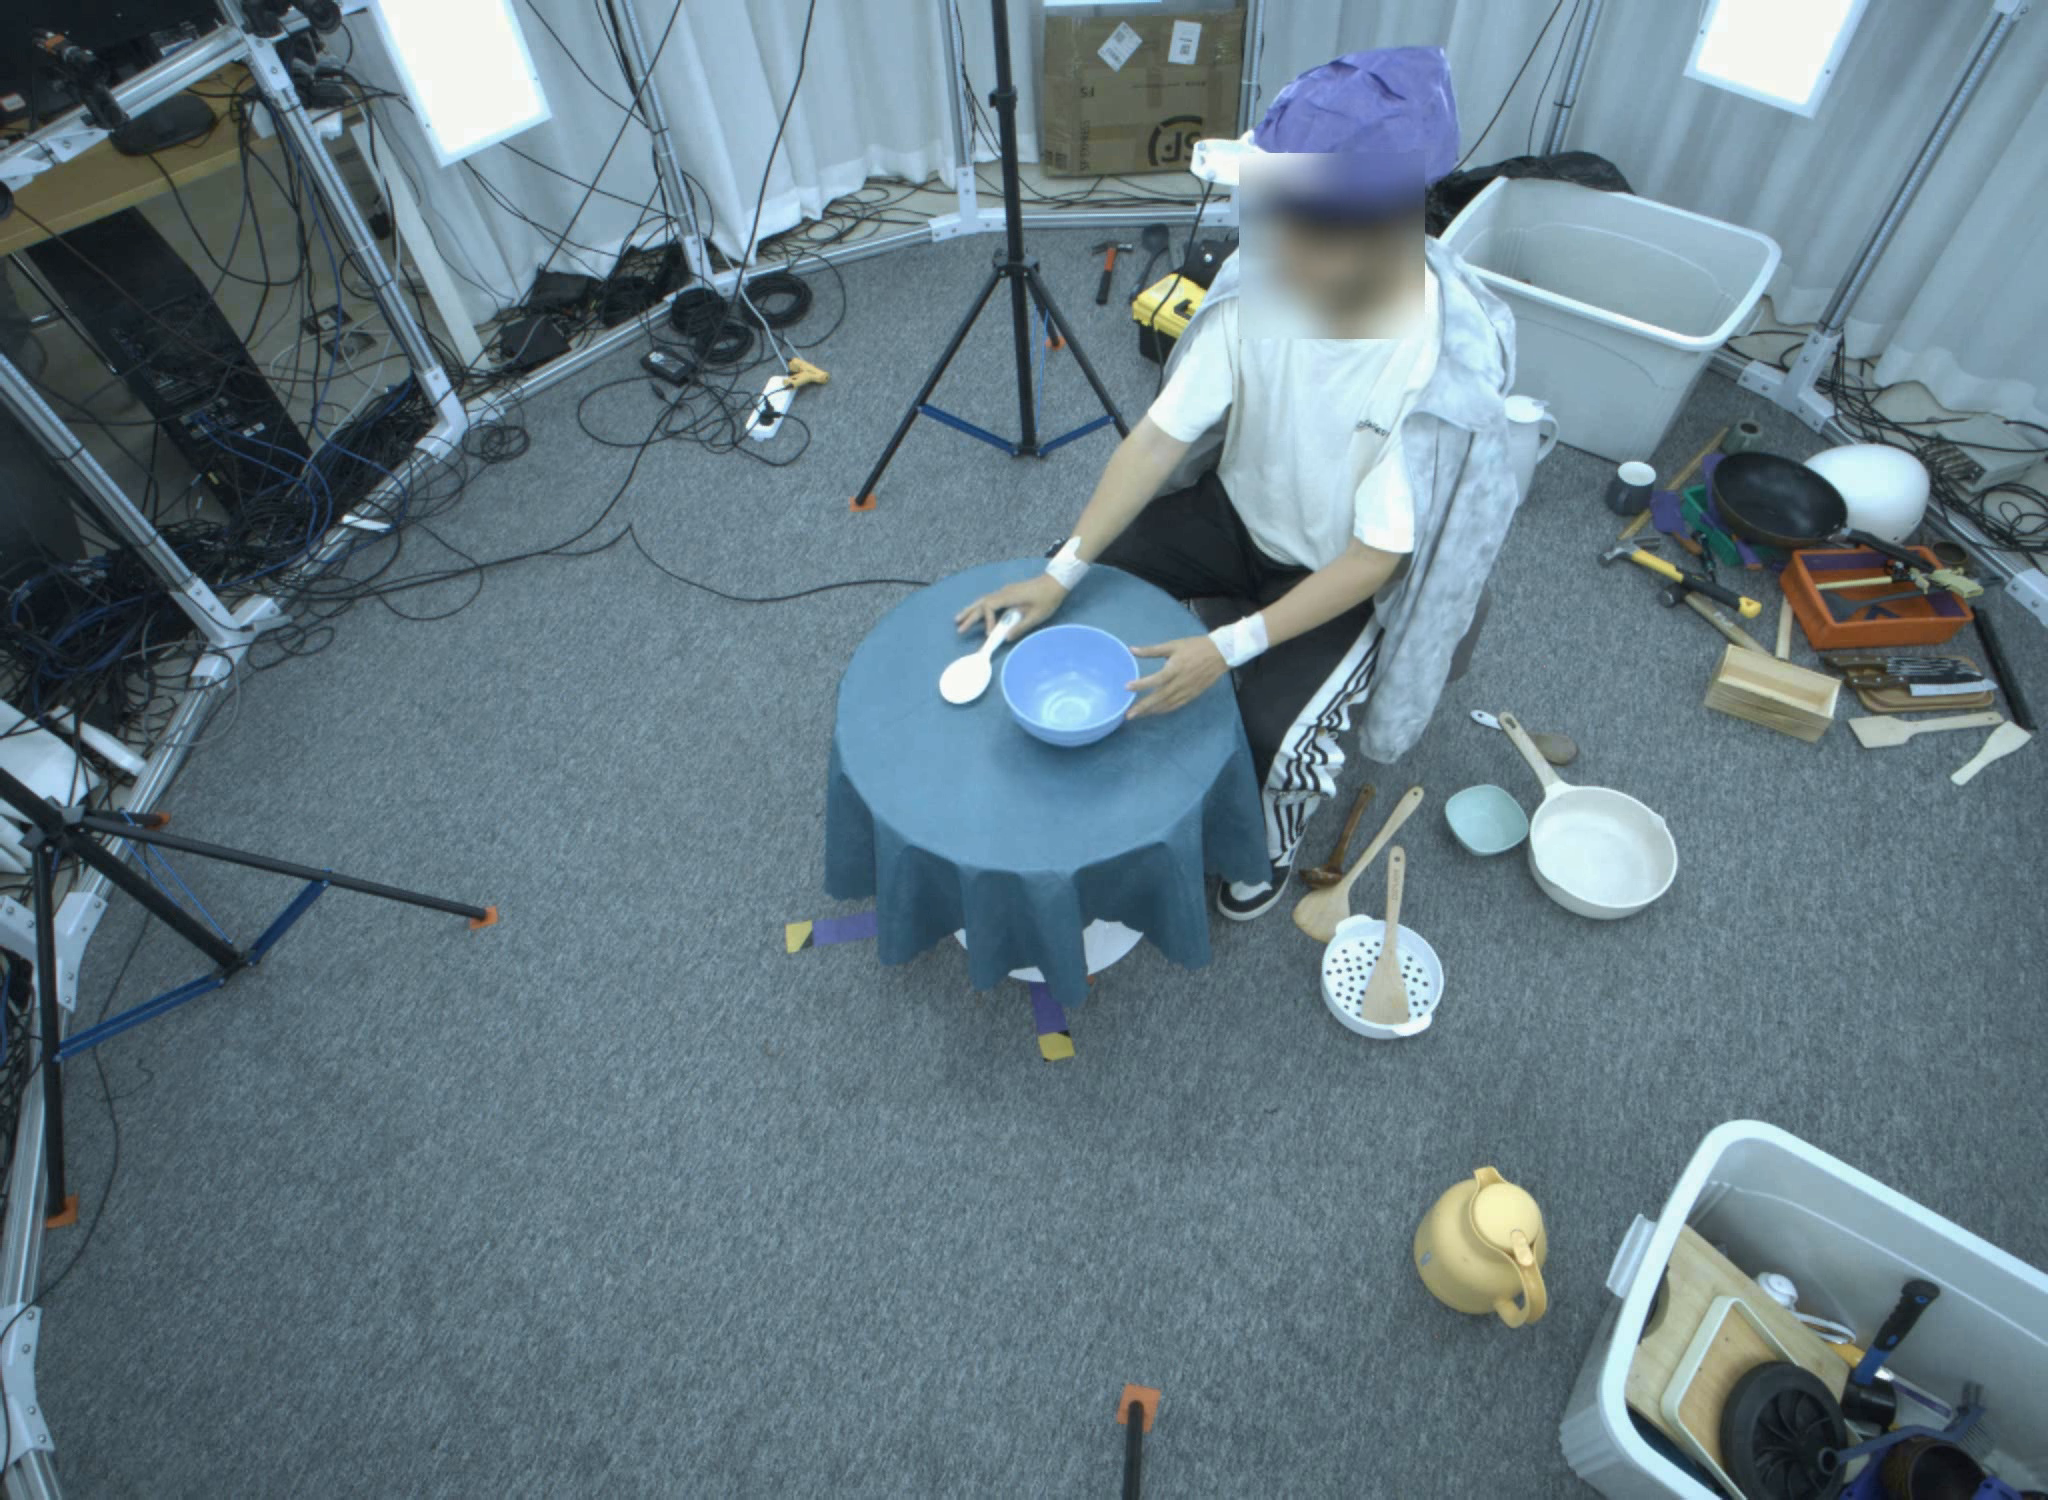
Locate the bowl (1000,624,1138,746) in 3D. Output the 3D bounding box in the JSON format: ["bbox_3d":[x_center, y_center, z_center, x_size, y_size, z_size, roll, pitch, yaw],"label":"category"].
[{"bbox_3d":[0.068,-0.079,1.783,0.196,0.096,0.194,-1,55,3],"label":"bowl"}]

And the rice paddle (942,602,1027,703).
[{"bbox_3d":[-0.058,-0.148,1.878,0.068,0.030,0.206,25,59,15],"label":"rice paddle"}]
